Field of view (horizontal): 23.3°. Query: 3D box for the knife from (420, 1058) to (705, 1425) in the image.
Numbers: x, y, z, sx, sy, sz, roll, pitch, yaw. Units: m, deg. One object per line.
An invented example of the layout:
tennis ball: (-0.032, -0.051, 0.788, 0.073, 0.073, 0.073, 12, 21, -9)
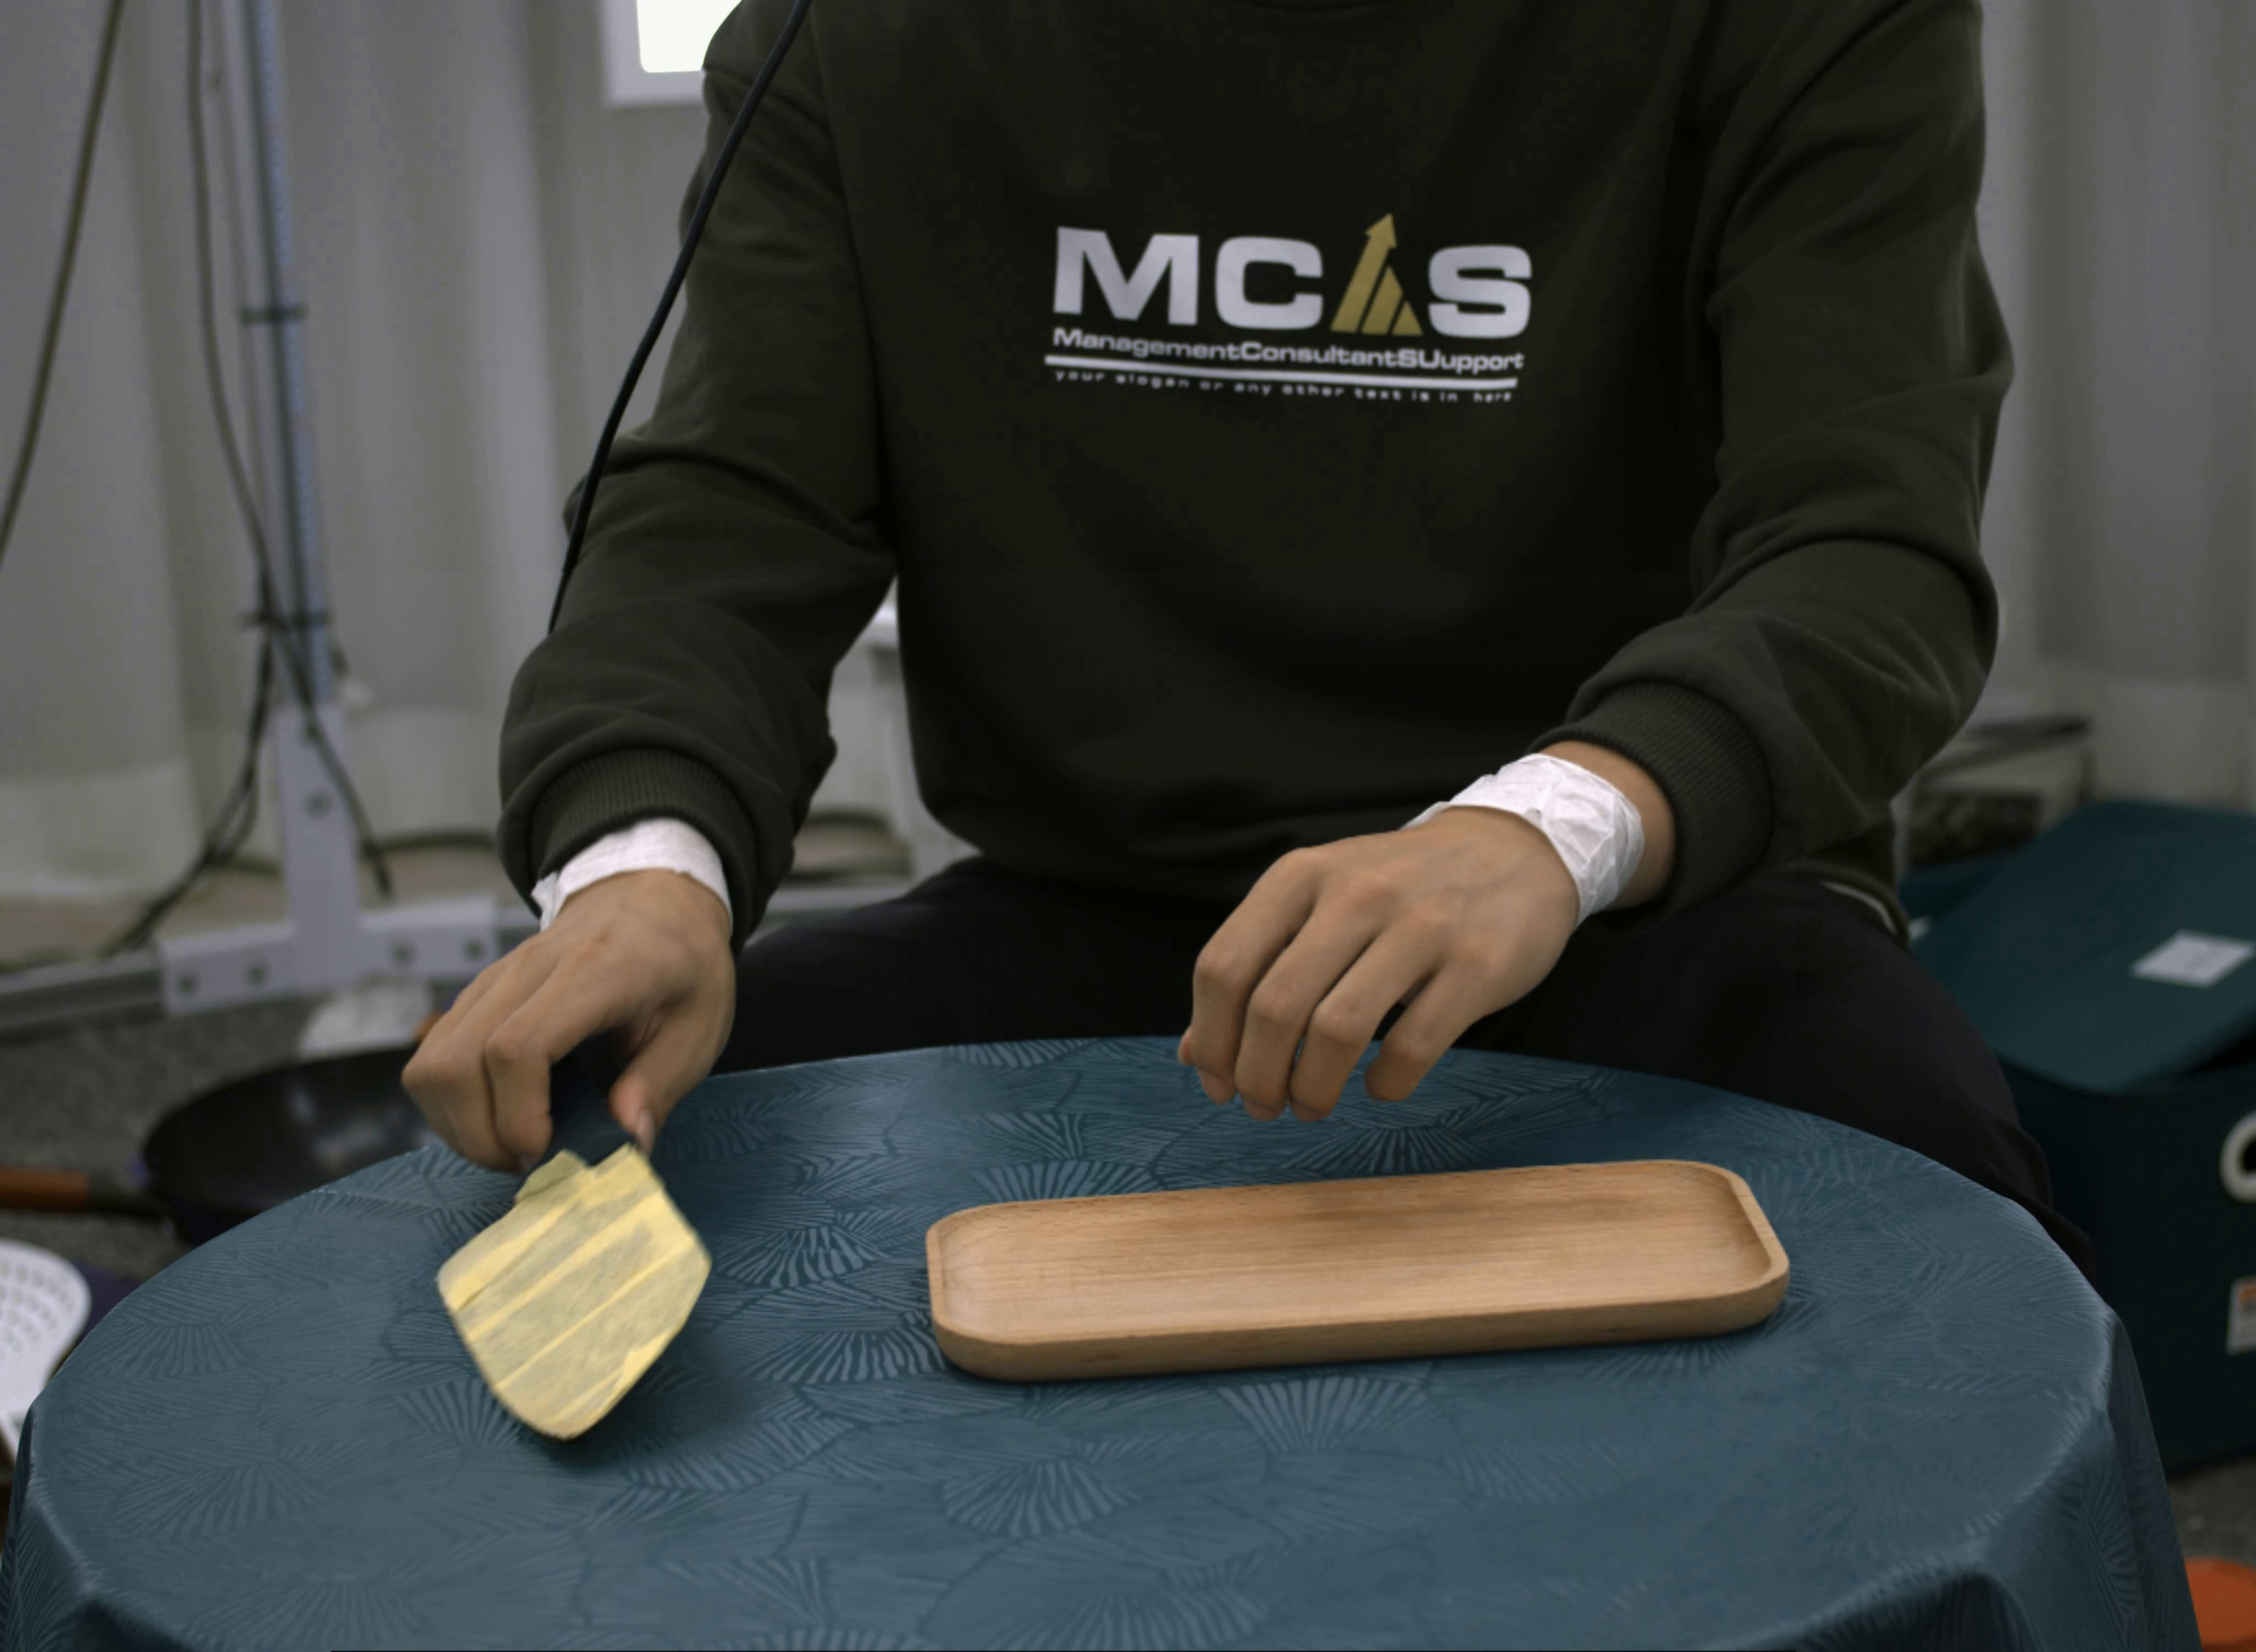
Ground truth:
knife: (-0.176, 0.123, 1.645, 0.081, 0.027, 0.292, -31, 19, -4)

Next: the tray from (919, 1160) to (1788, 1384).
tray: (0.064, 0.131, 1.611, 0.250, 0.023, 0.131, -4, 12, -3)
